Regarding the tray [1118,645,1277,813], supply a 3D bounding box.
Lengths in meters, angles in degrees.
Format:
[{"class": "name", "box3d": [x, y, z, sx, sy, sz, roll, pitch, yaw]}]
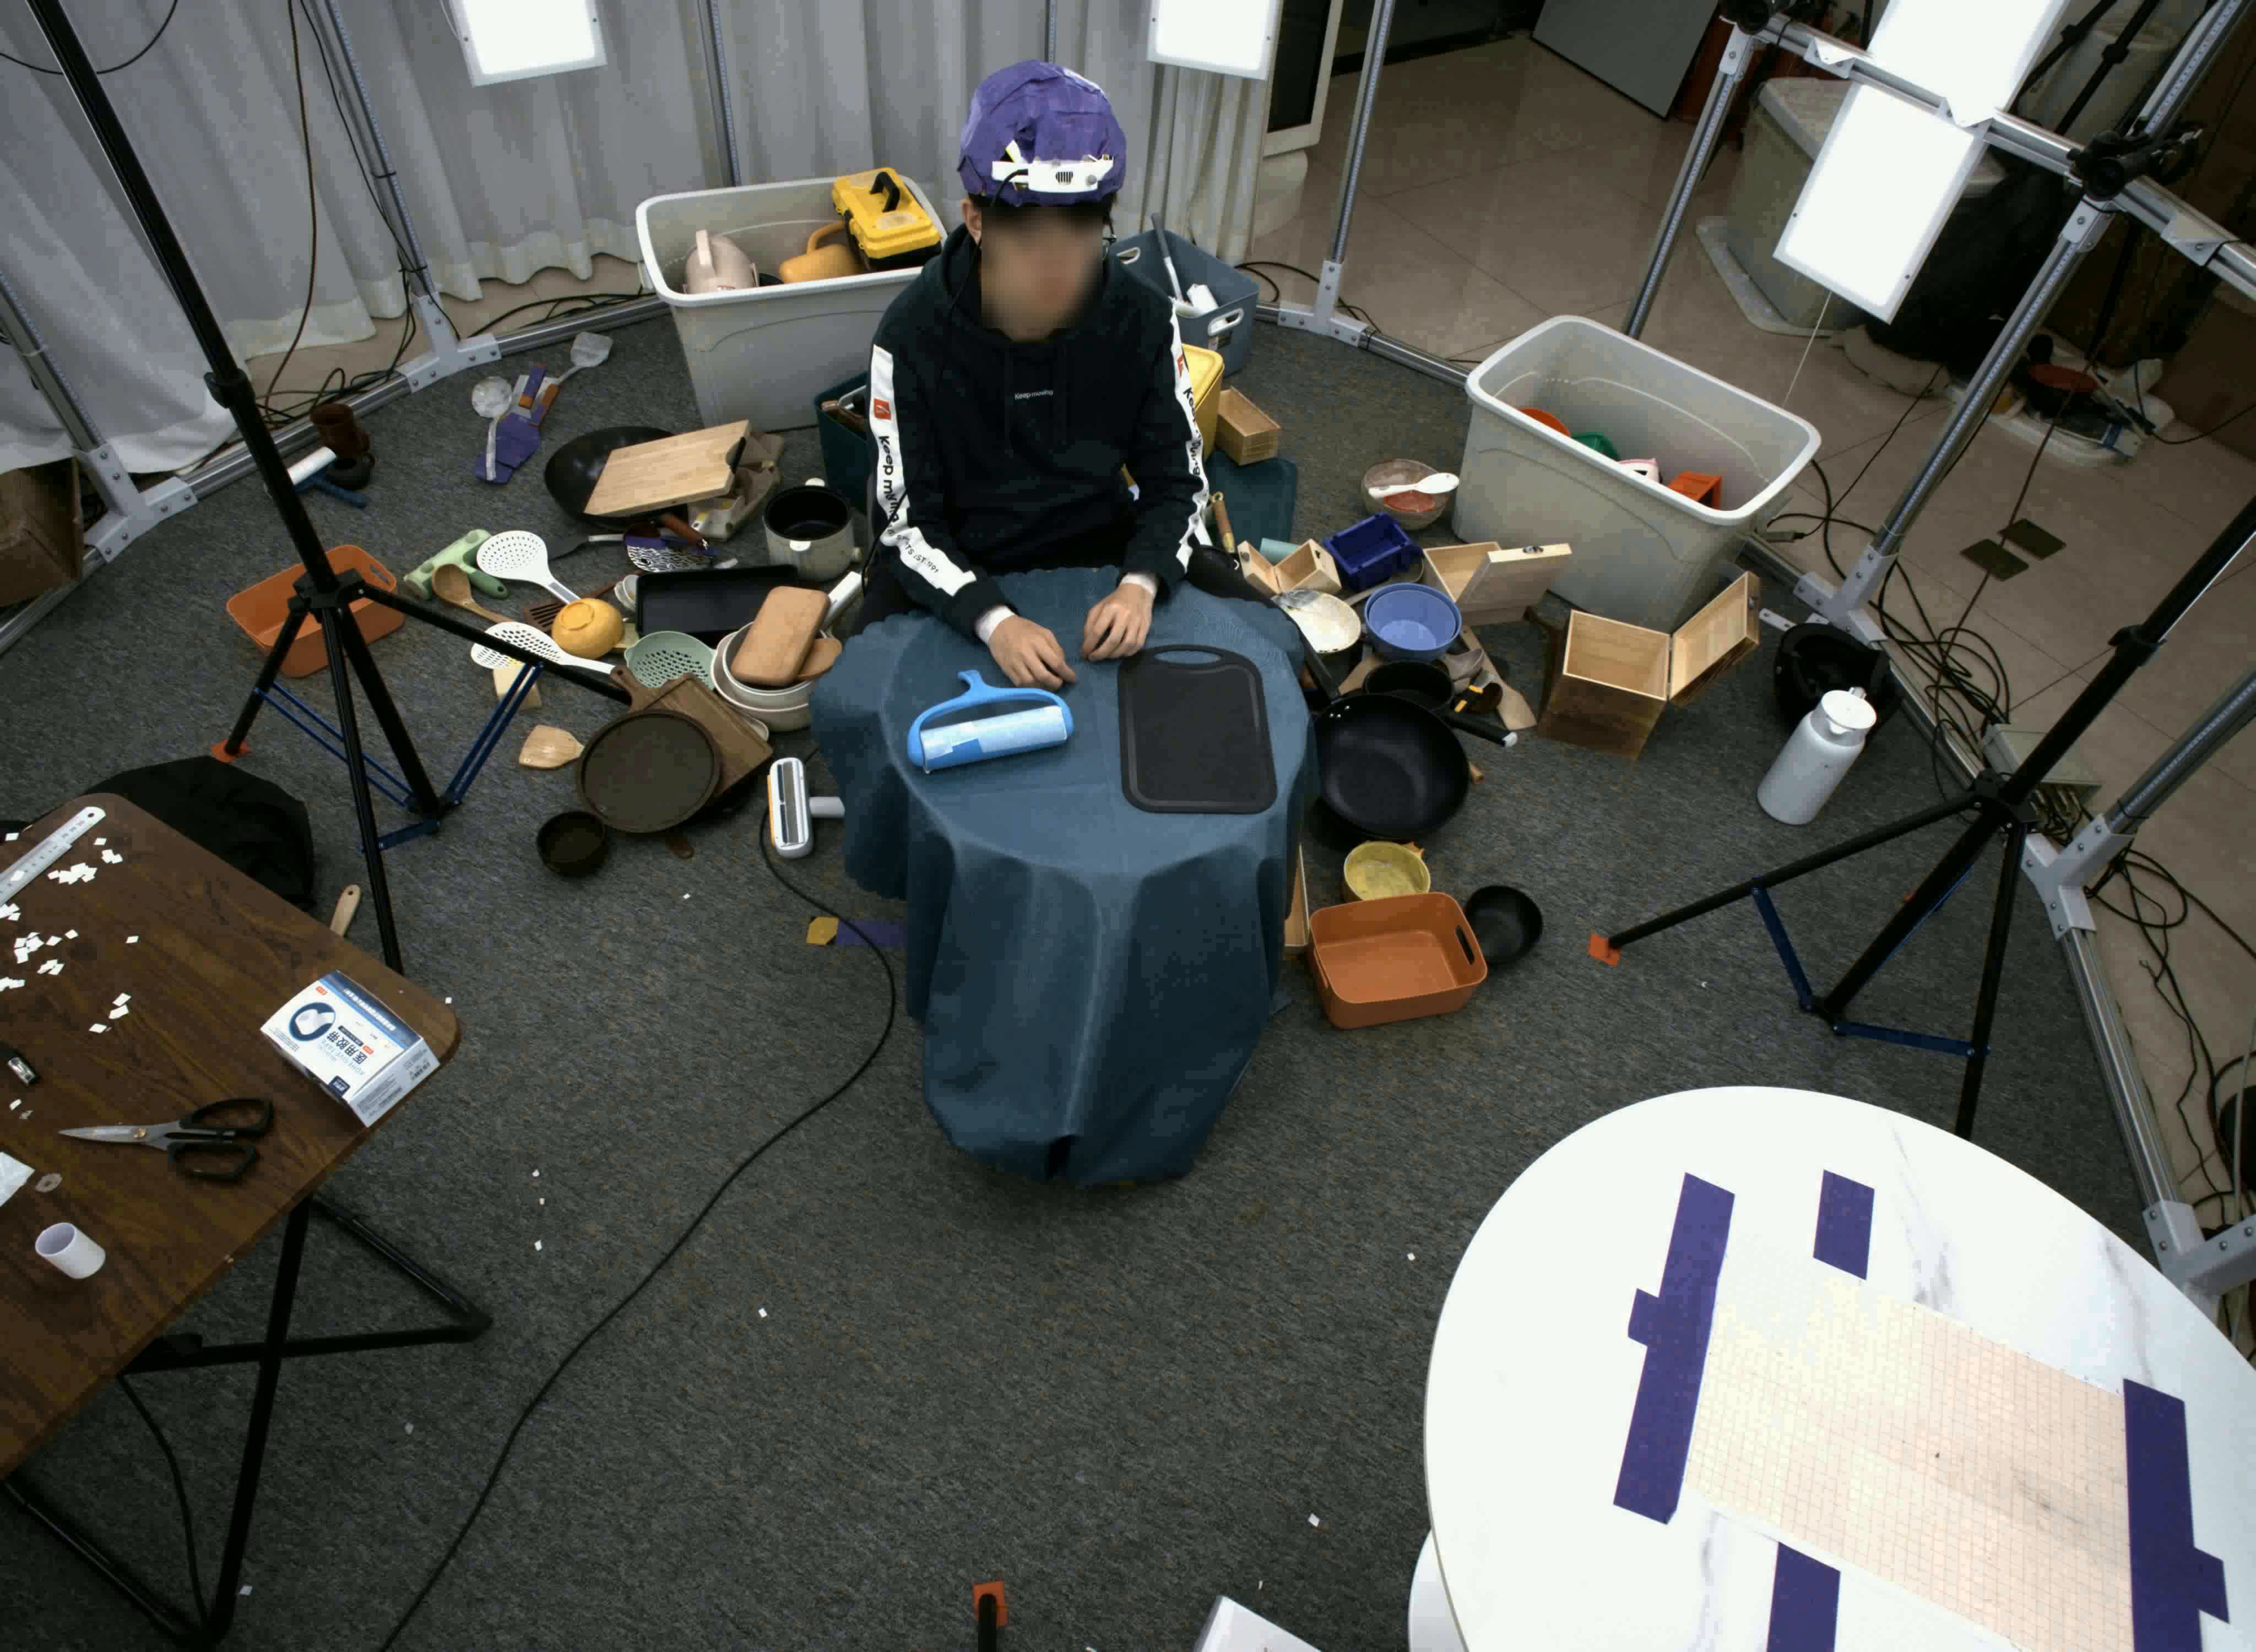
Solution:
[{"class": "tray", "box3d": [0.092, -0.144, 1.794, 0.211, 0.009, 0.333, 1, 49, -3]}]

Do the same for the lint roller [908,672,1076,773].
[{"class": "lint roller", "box3d": [-0.202, -0.163, 1.759, 0.229, 0.066, 0.184, -15, 53, -14]}]
